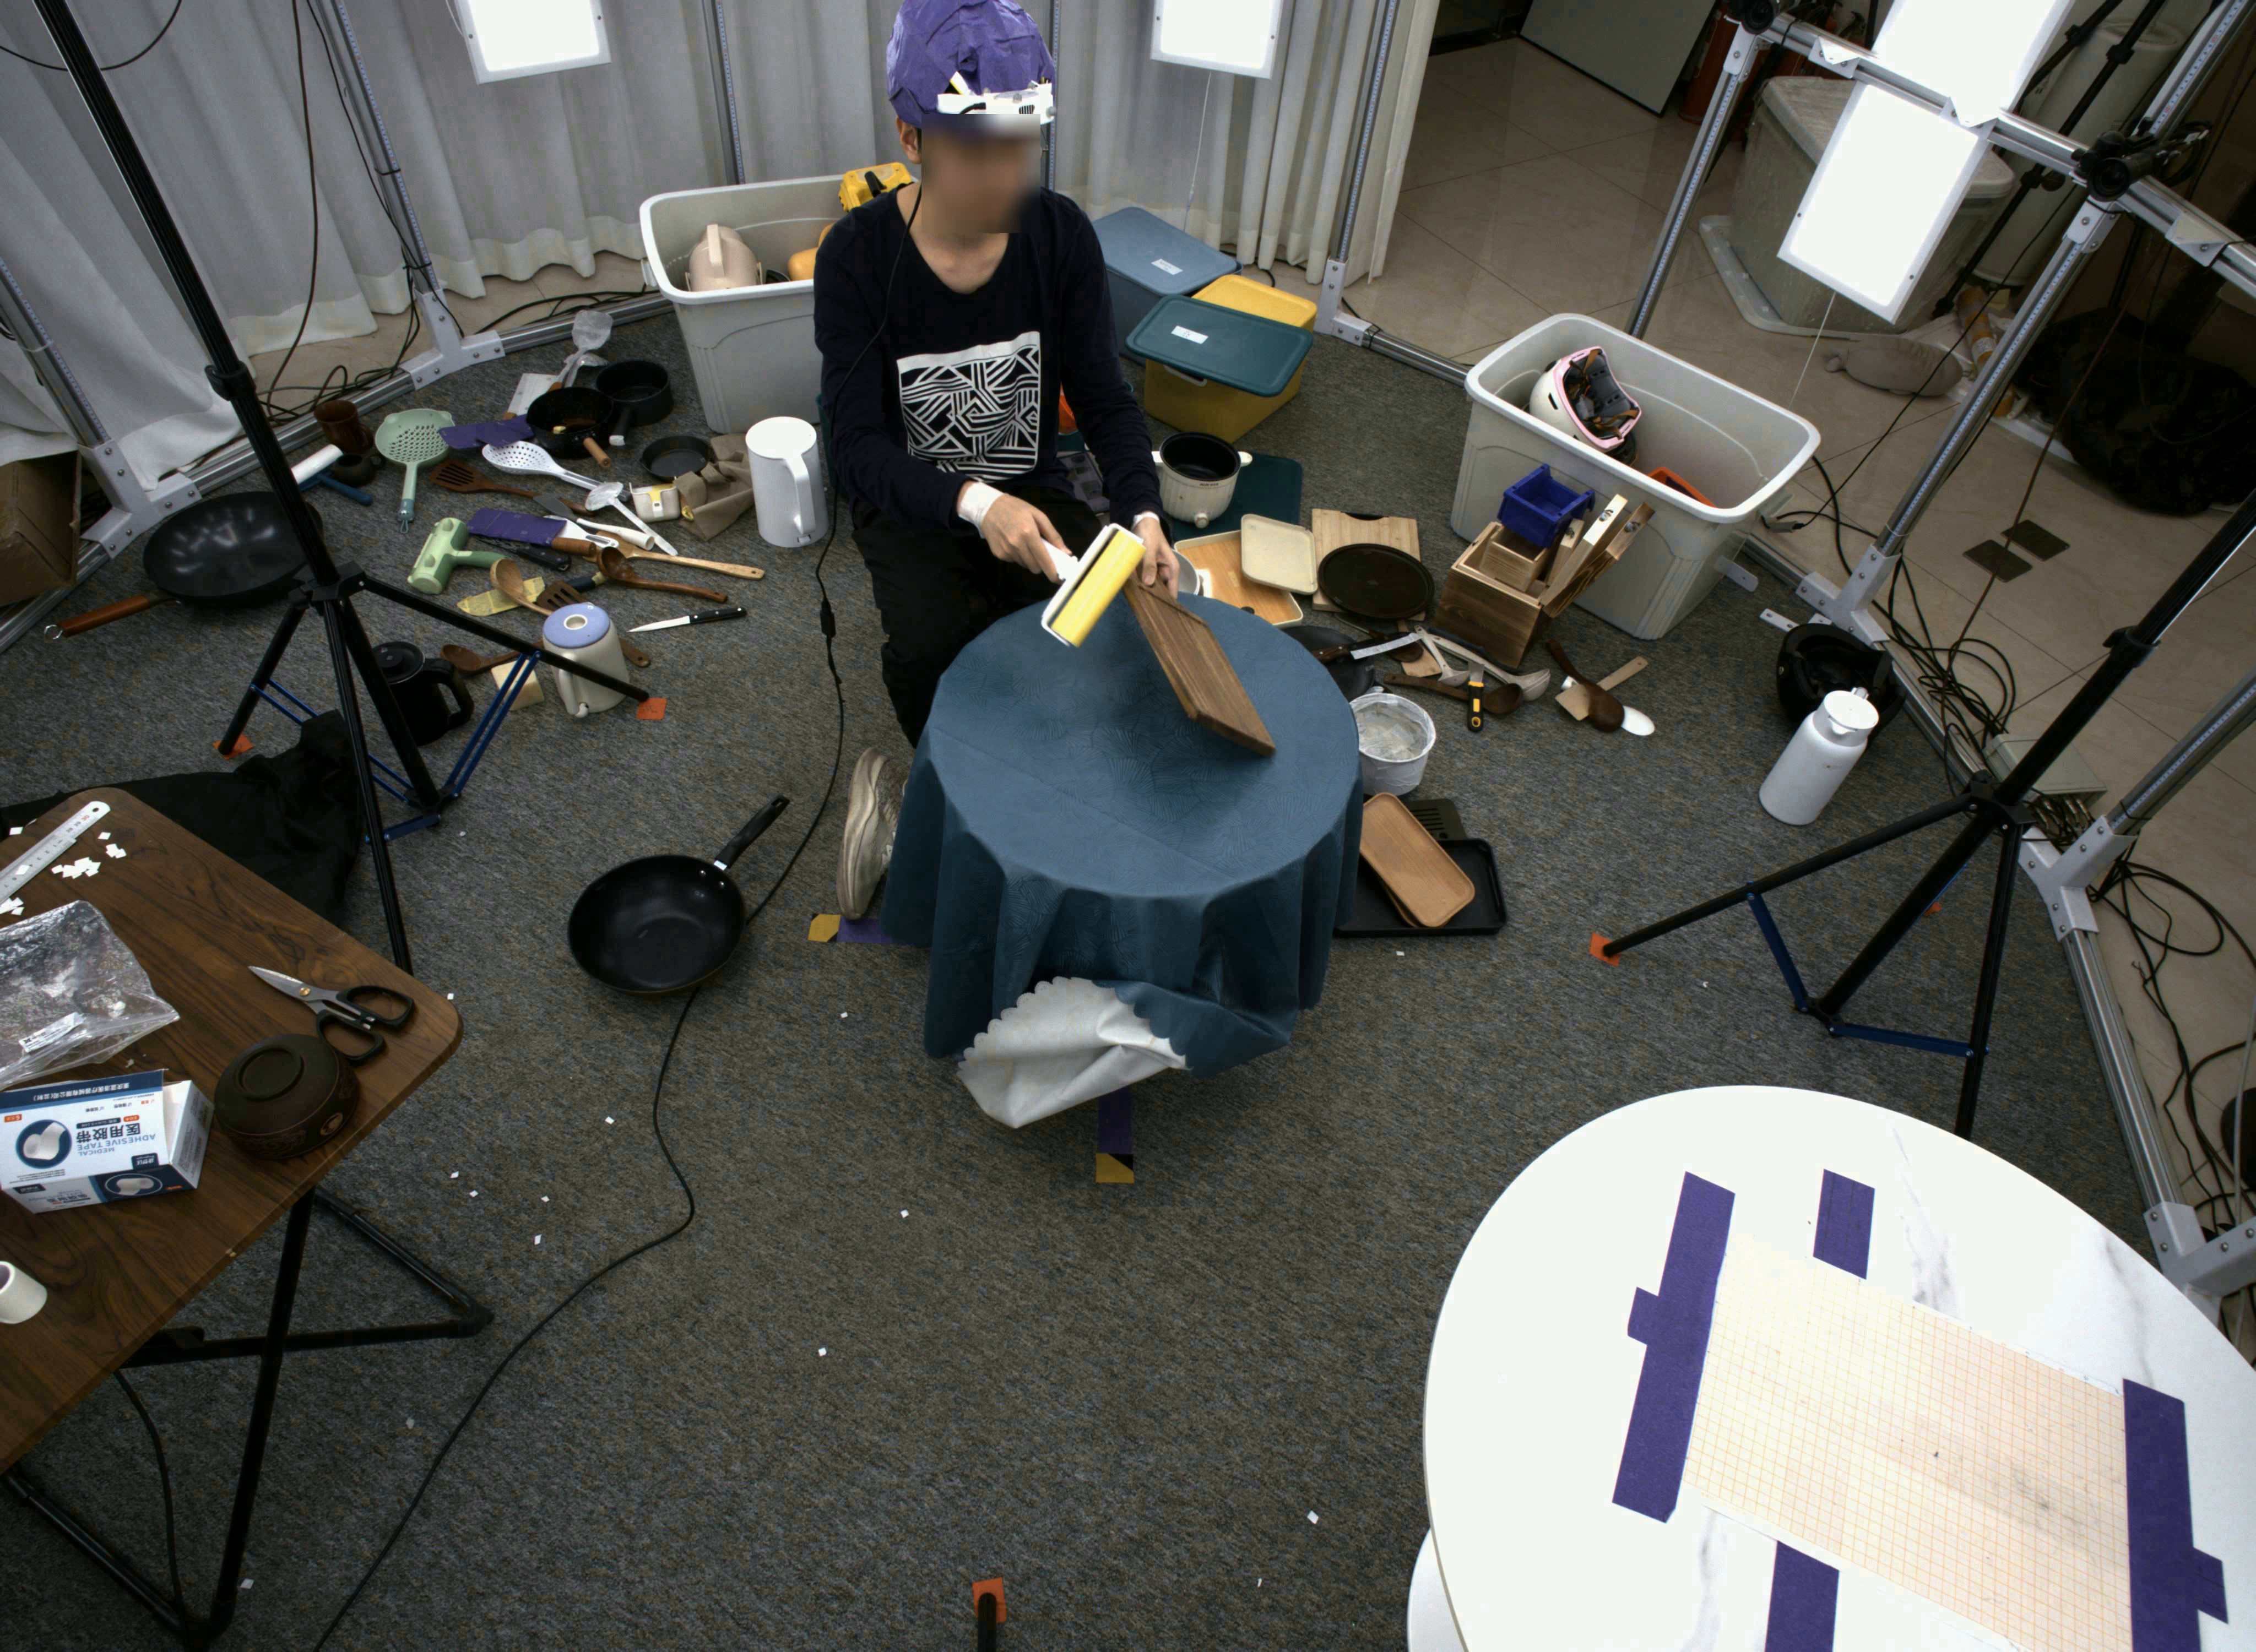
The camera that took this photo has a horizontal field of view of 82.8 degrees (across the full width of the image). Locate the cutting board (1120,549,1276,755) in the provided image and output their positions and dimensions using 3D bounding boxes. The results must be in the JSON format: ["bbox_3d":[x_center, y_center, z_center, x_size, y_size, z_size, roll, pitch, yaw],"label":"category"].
[{"bbox_3d":[0.079,-0.256,1.775,0.198,0.023,0.360,19,38,-49],"label":"cutting board"}]

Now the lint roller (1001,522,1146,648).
[{"bbox_3d":[-0.098,-0.361,1.754,0.193,0.051,0.174,35,90,10],"label":"lint roller"}]
